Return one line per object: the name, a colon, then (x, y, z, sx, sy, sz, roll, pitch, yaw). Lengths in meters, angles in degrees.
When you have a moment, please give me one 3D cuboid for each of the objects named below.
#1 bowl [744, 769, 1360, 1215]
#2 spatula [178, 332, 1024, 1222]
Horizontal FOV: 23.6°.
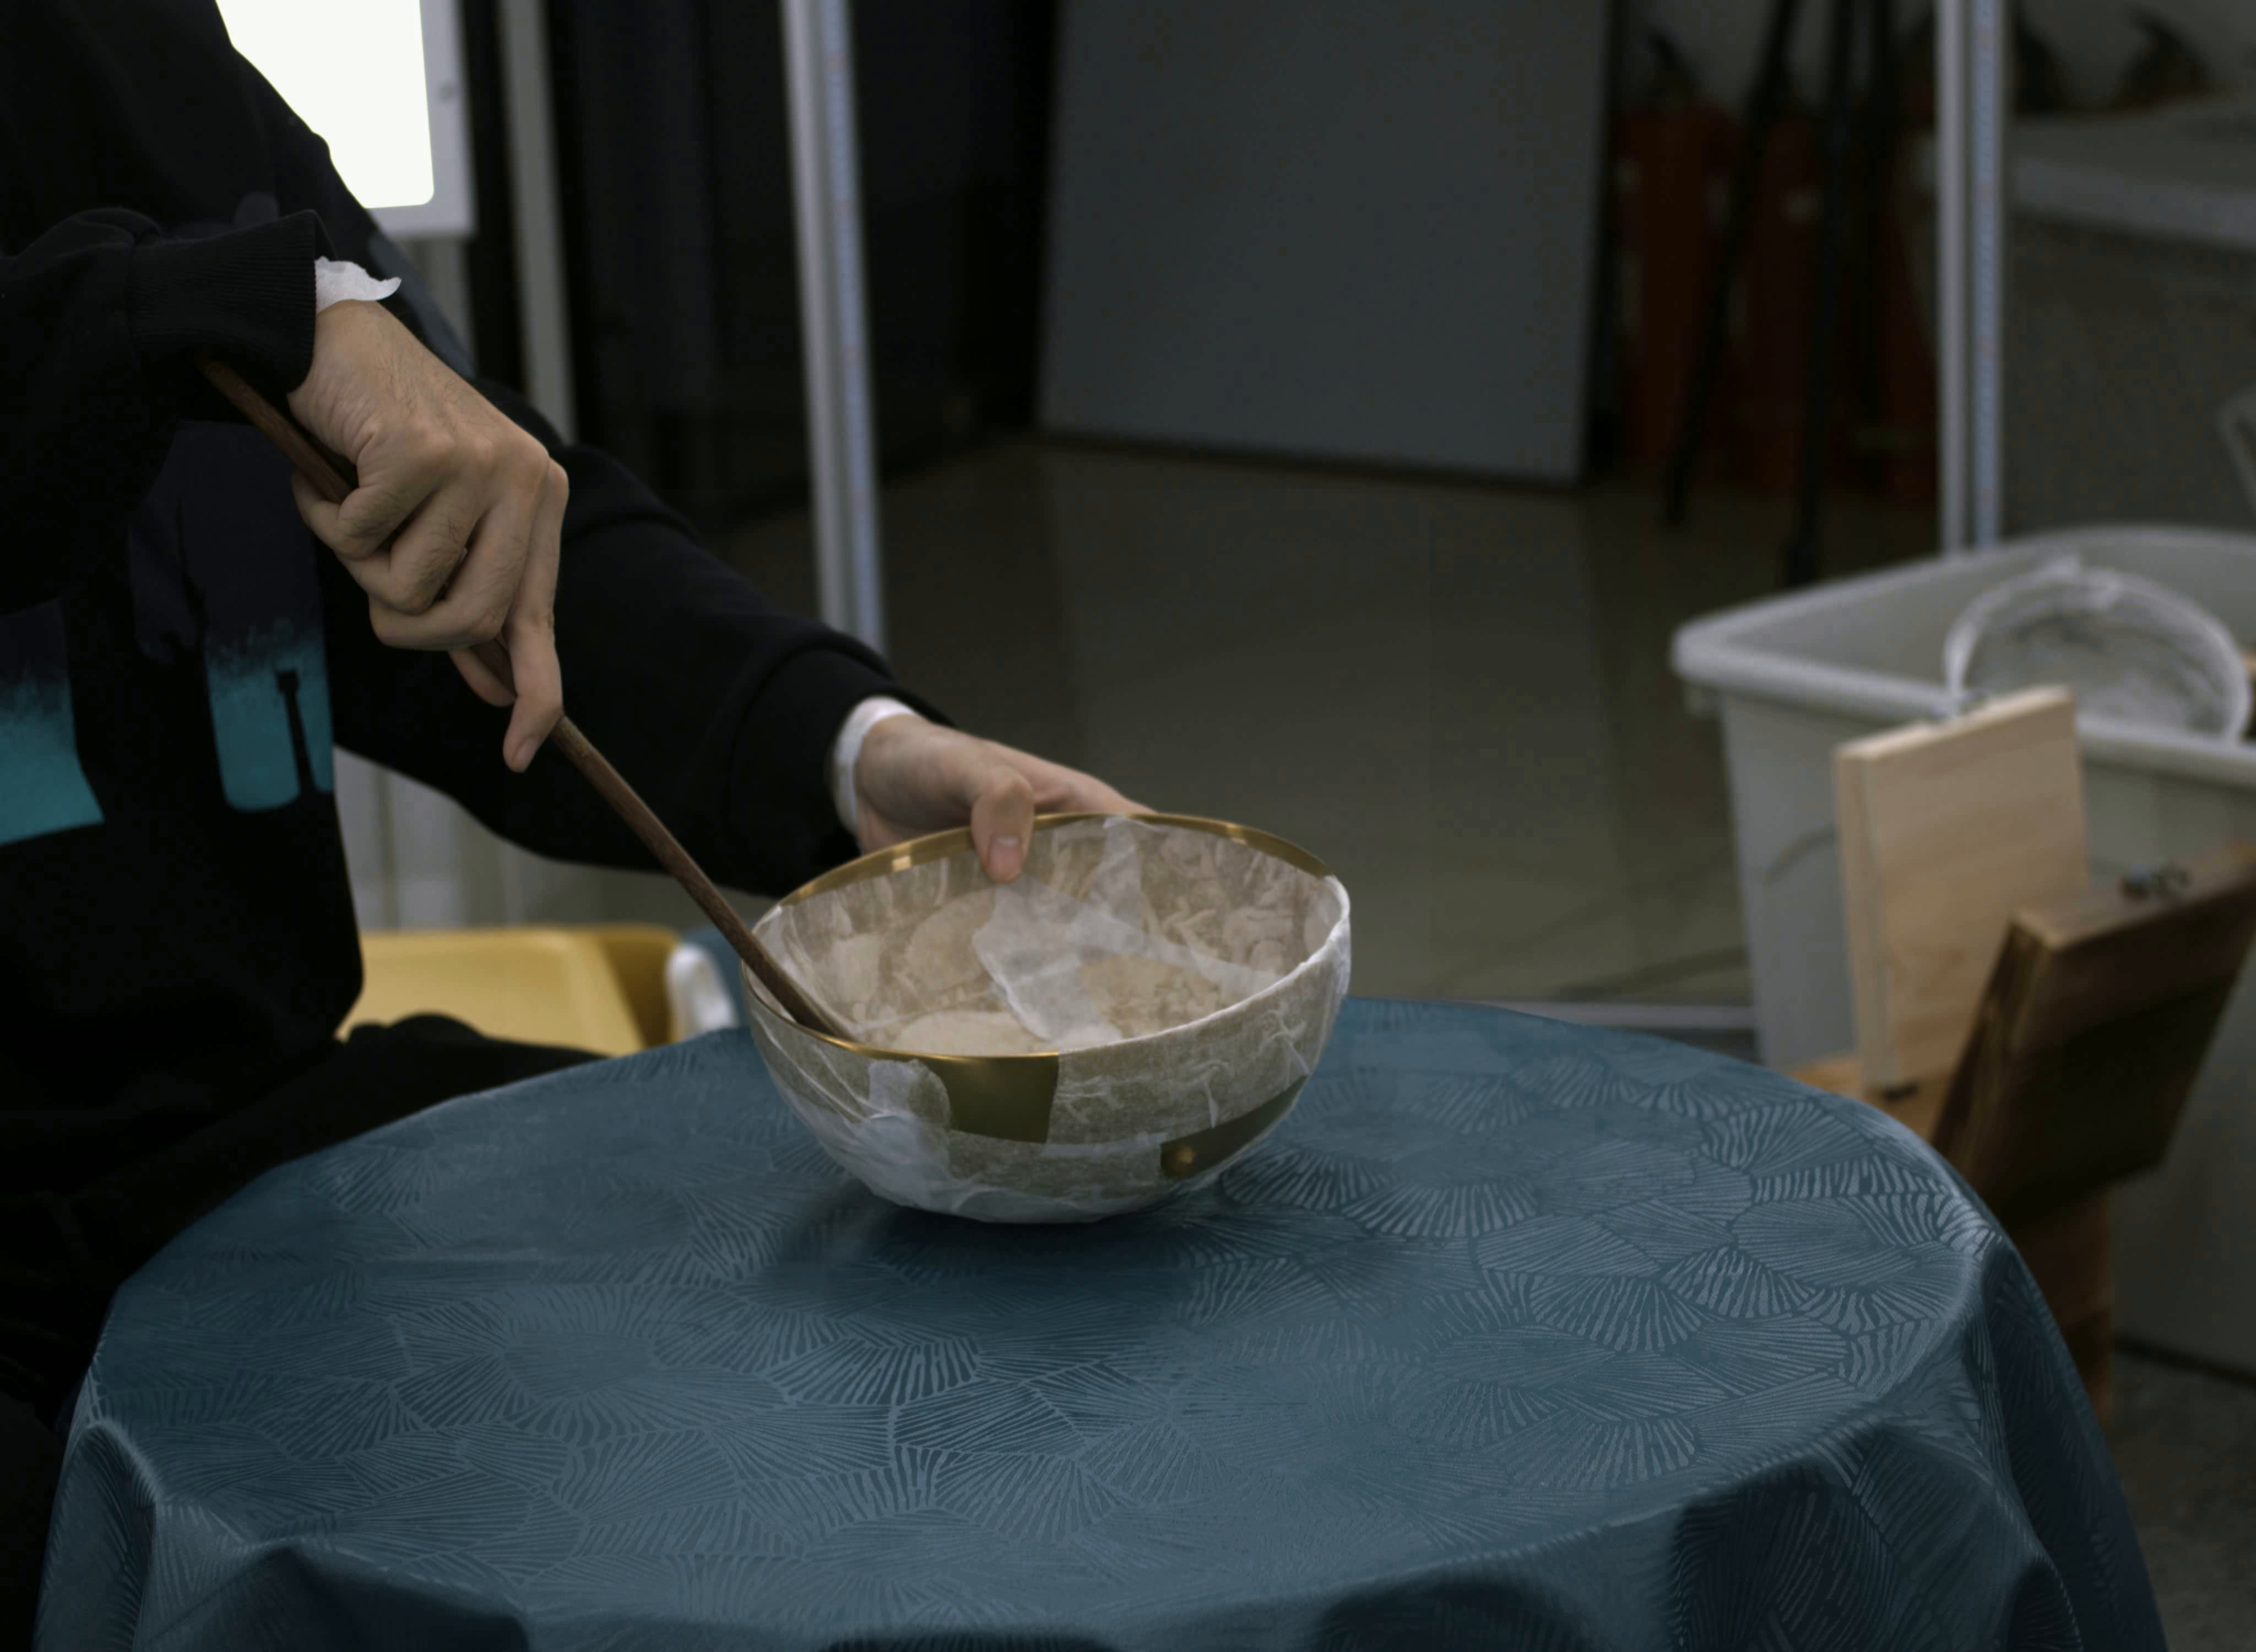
bowl: (-0.026, 0.065, 1.766, 0.212, 0.095, 0.215, -2, 27, 0)
spatula: (-0.164, -0.014, 1.723, 0.016, 0.385, 0.096, -42, 8, 0)
